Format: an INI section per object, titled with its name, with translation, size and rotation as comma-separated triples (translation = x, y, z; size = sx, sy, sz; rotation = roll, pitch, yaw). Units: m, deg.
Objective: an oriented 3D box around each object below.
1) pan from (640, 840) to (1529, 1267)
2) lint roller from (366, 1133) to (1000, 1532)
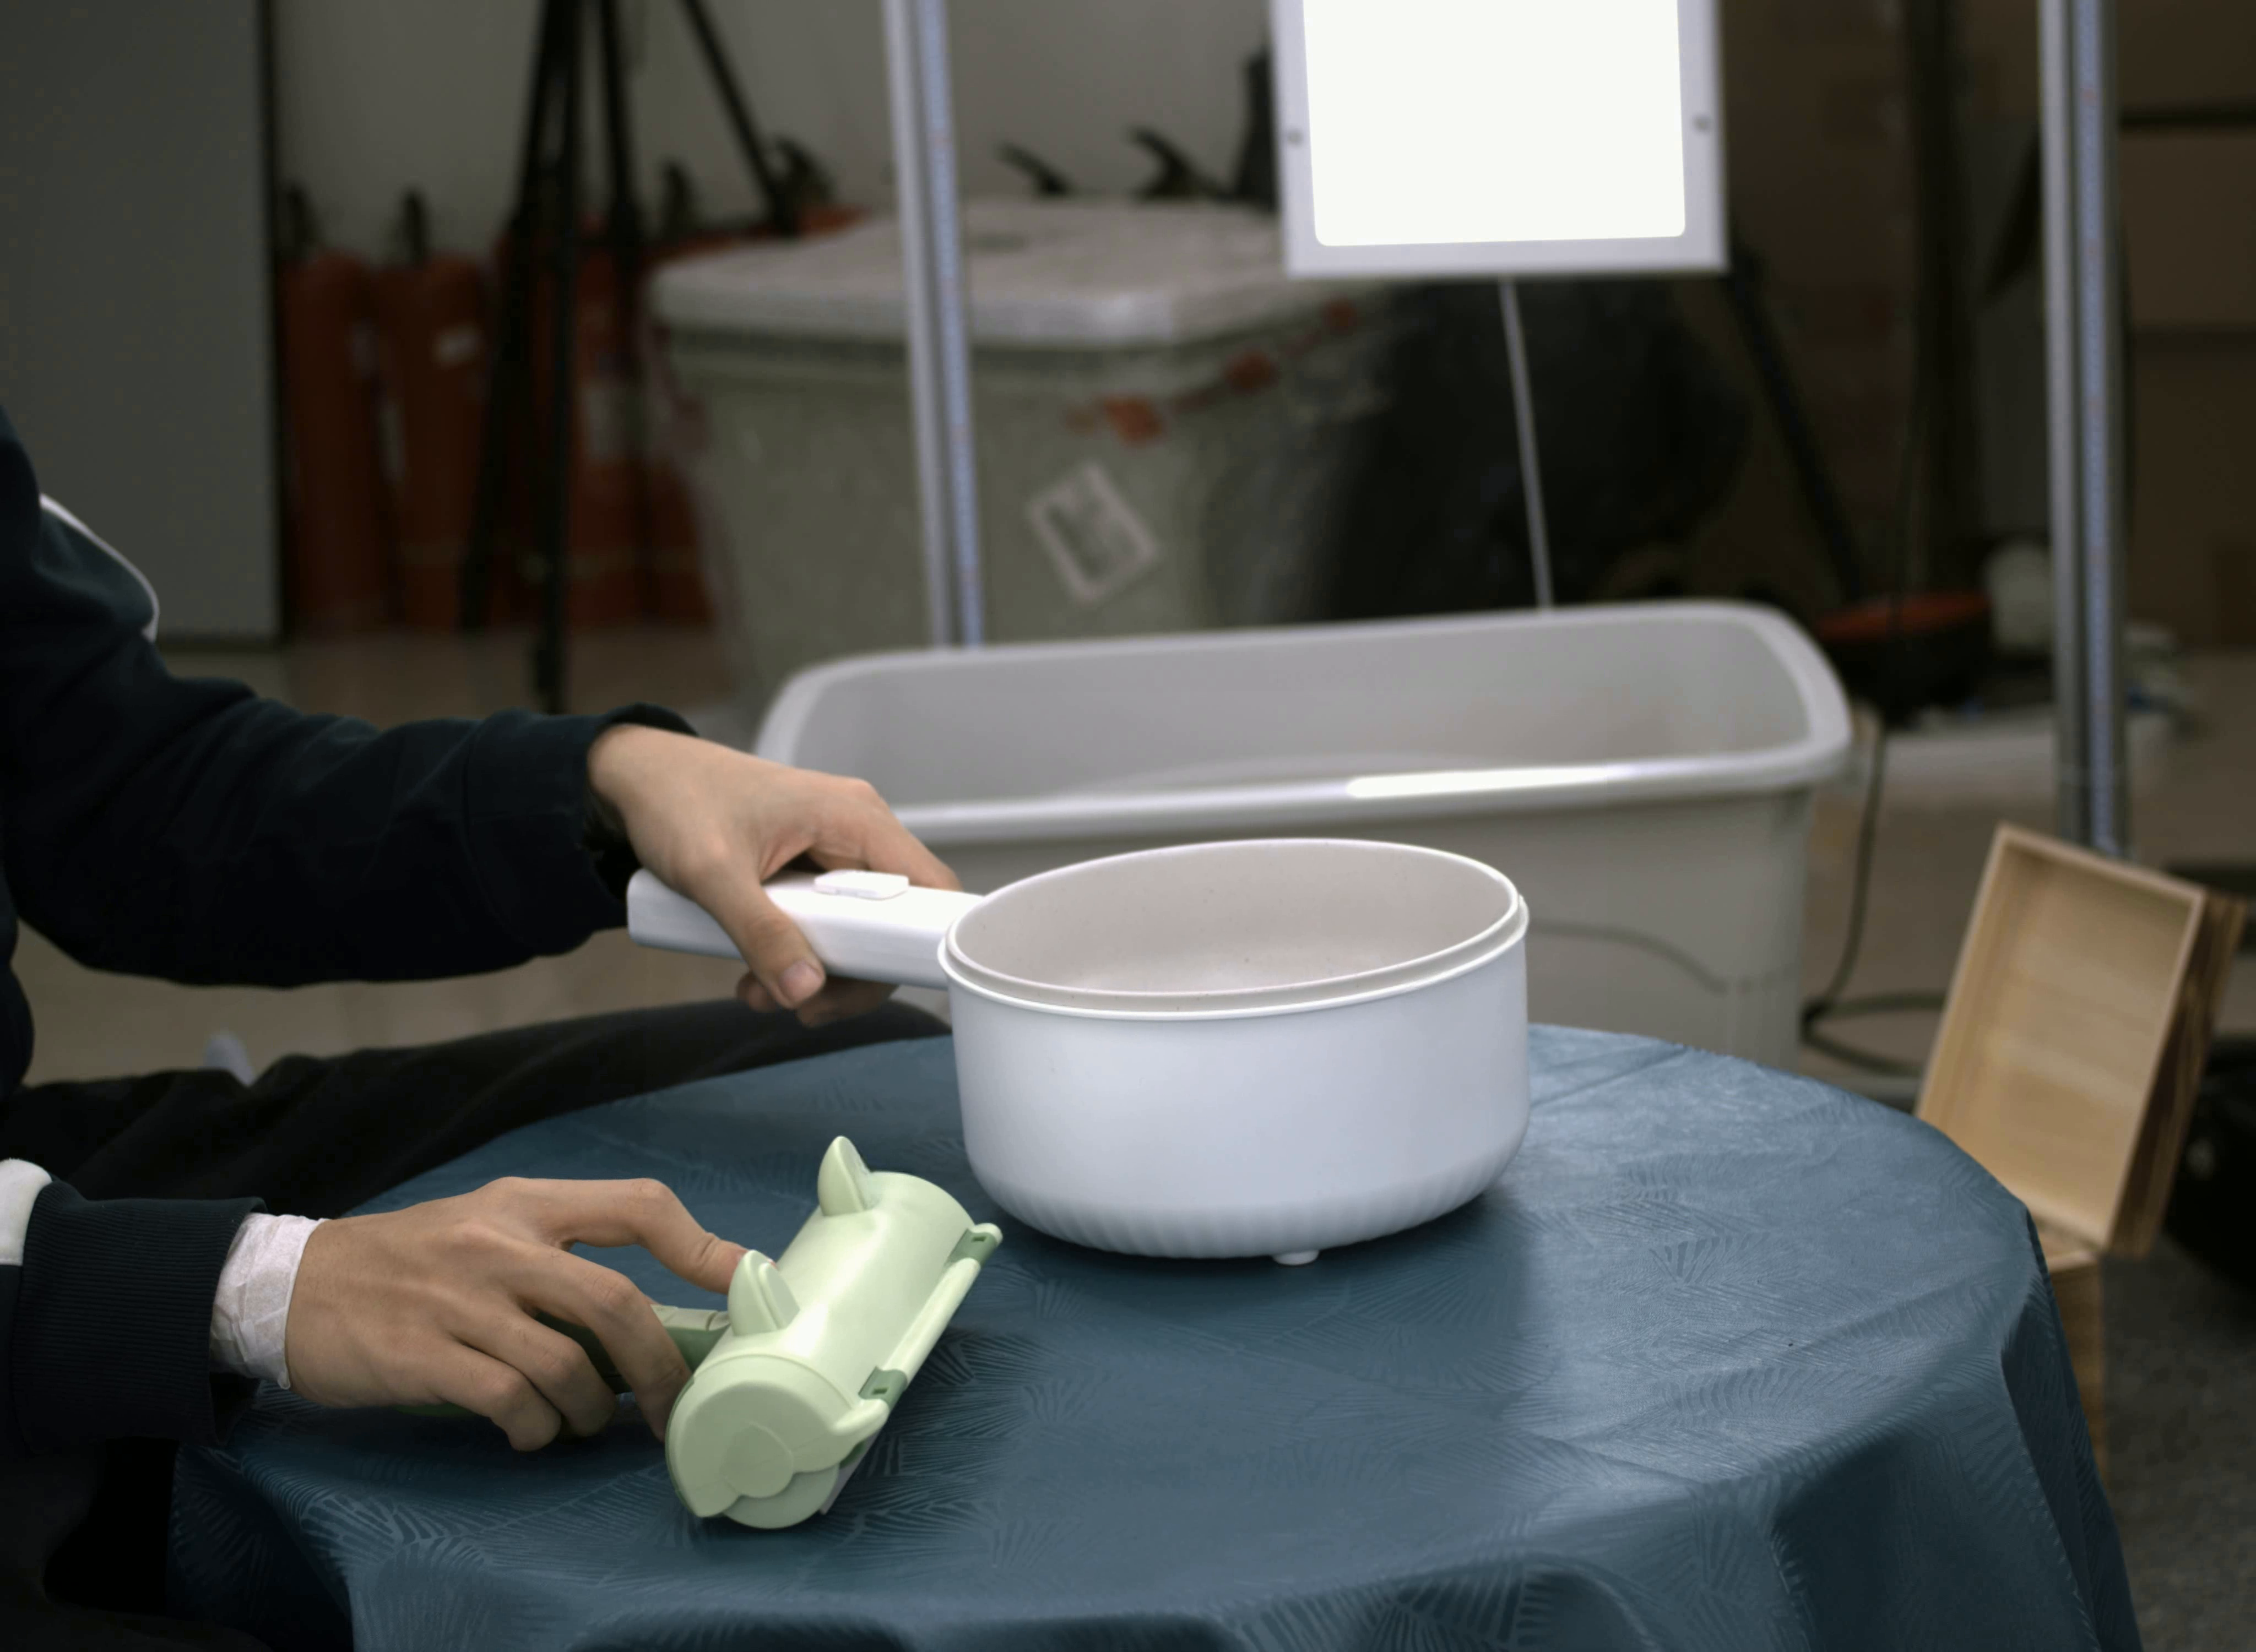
[pan]
translation = -0.023, 0.073, 1.915
size = 0.362, 0.102, 0.196
rotation = 5, 18, 37
[lint roller]
translation = -0.146, 0.146, 1.697
size = 0.184, 0.082, 0.196
rotation = 5, 15, 11
